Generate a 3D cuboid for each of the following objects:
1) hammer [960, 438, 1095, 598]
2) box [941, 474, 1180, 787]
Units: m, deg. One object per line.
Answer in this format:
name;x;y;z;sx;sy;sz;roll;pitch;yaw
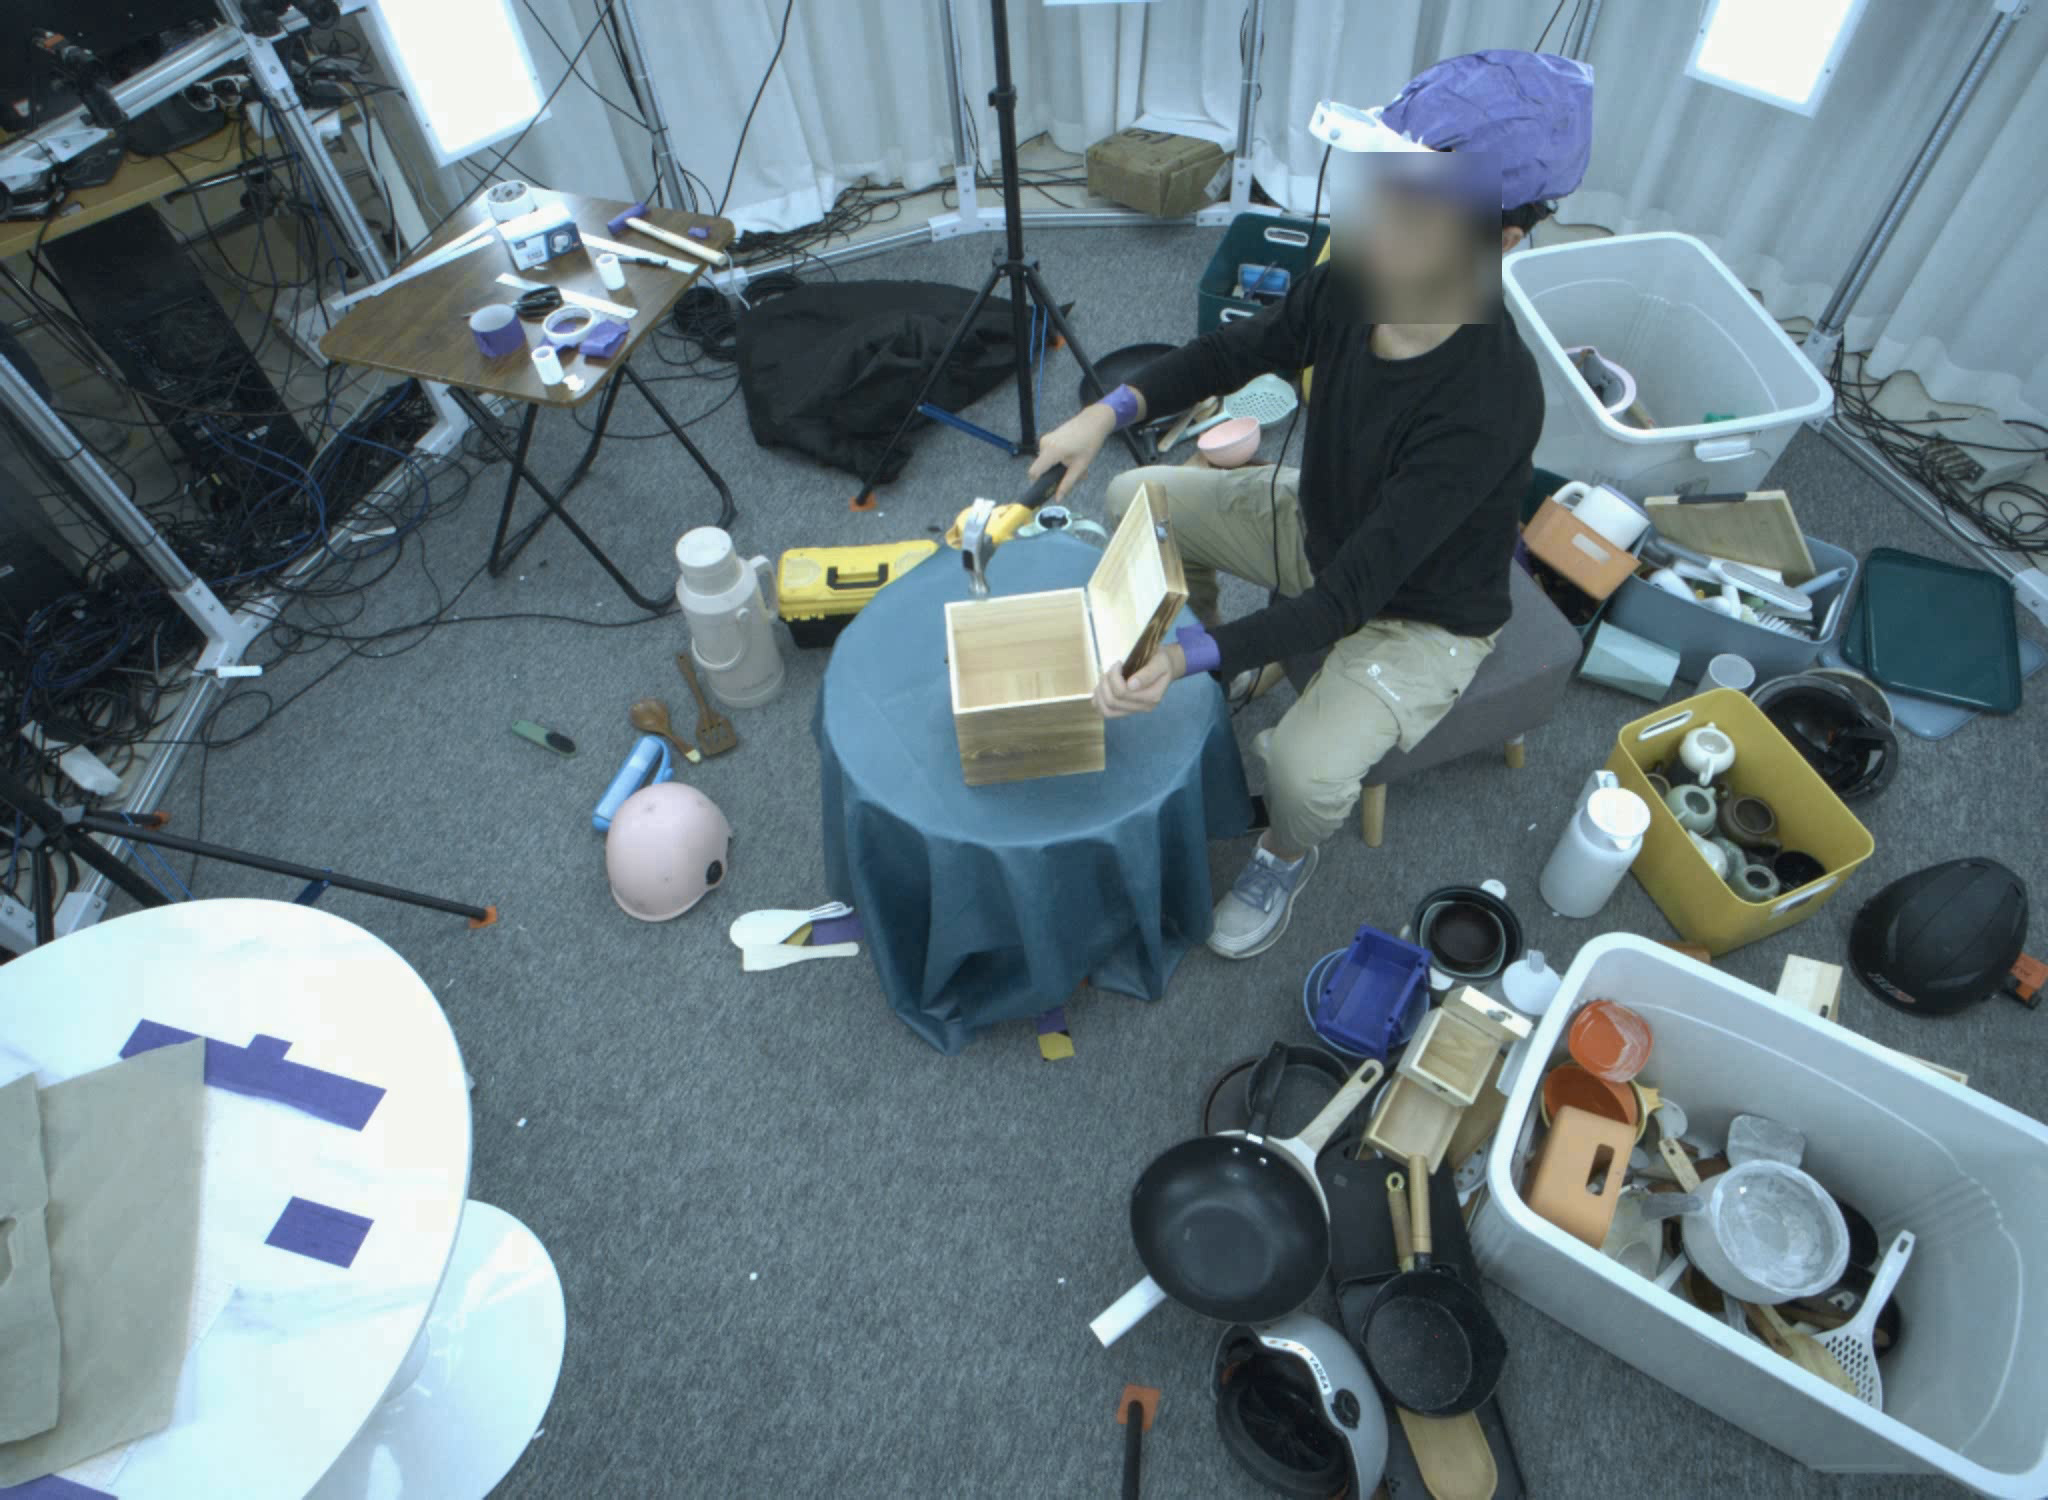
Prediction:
hammer;0.011;-0.362;1.768;0.032;0.133;0.340;20;49;25
box;0.043;-0.156;1.665;0.322;0.380;0.206;-8;54;-1
